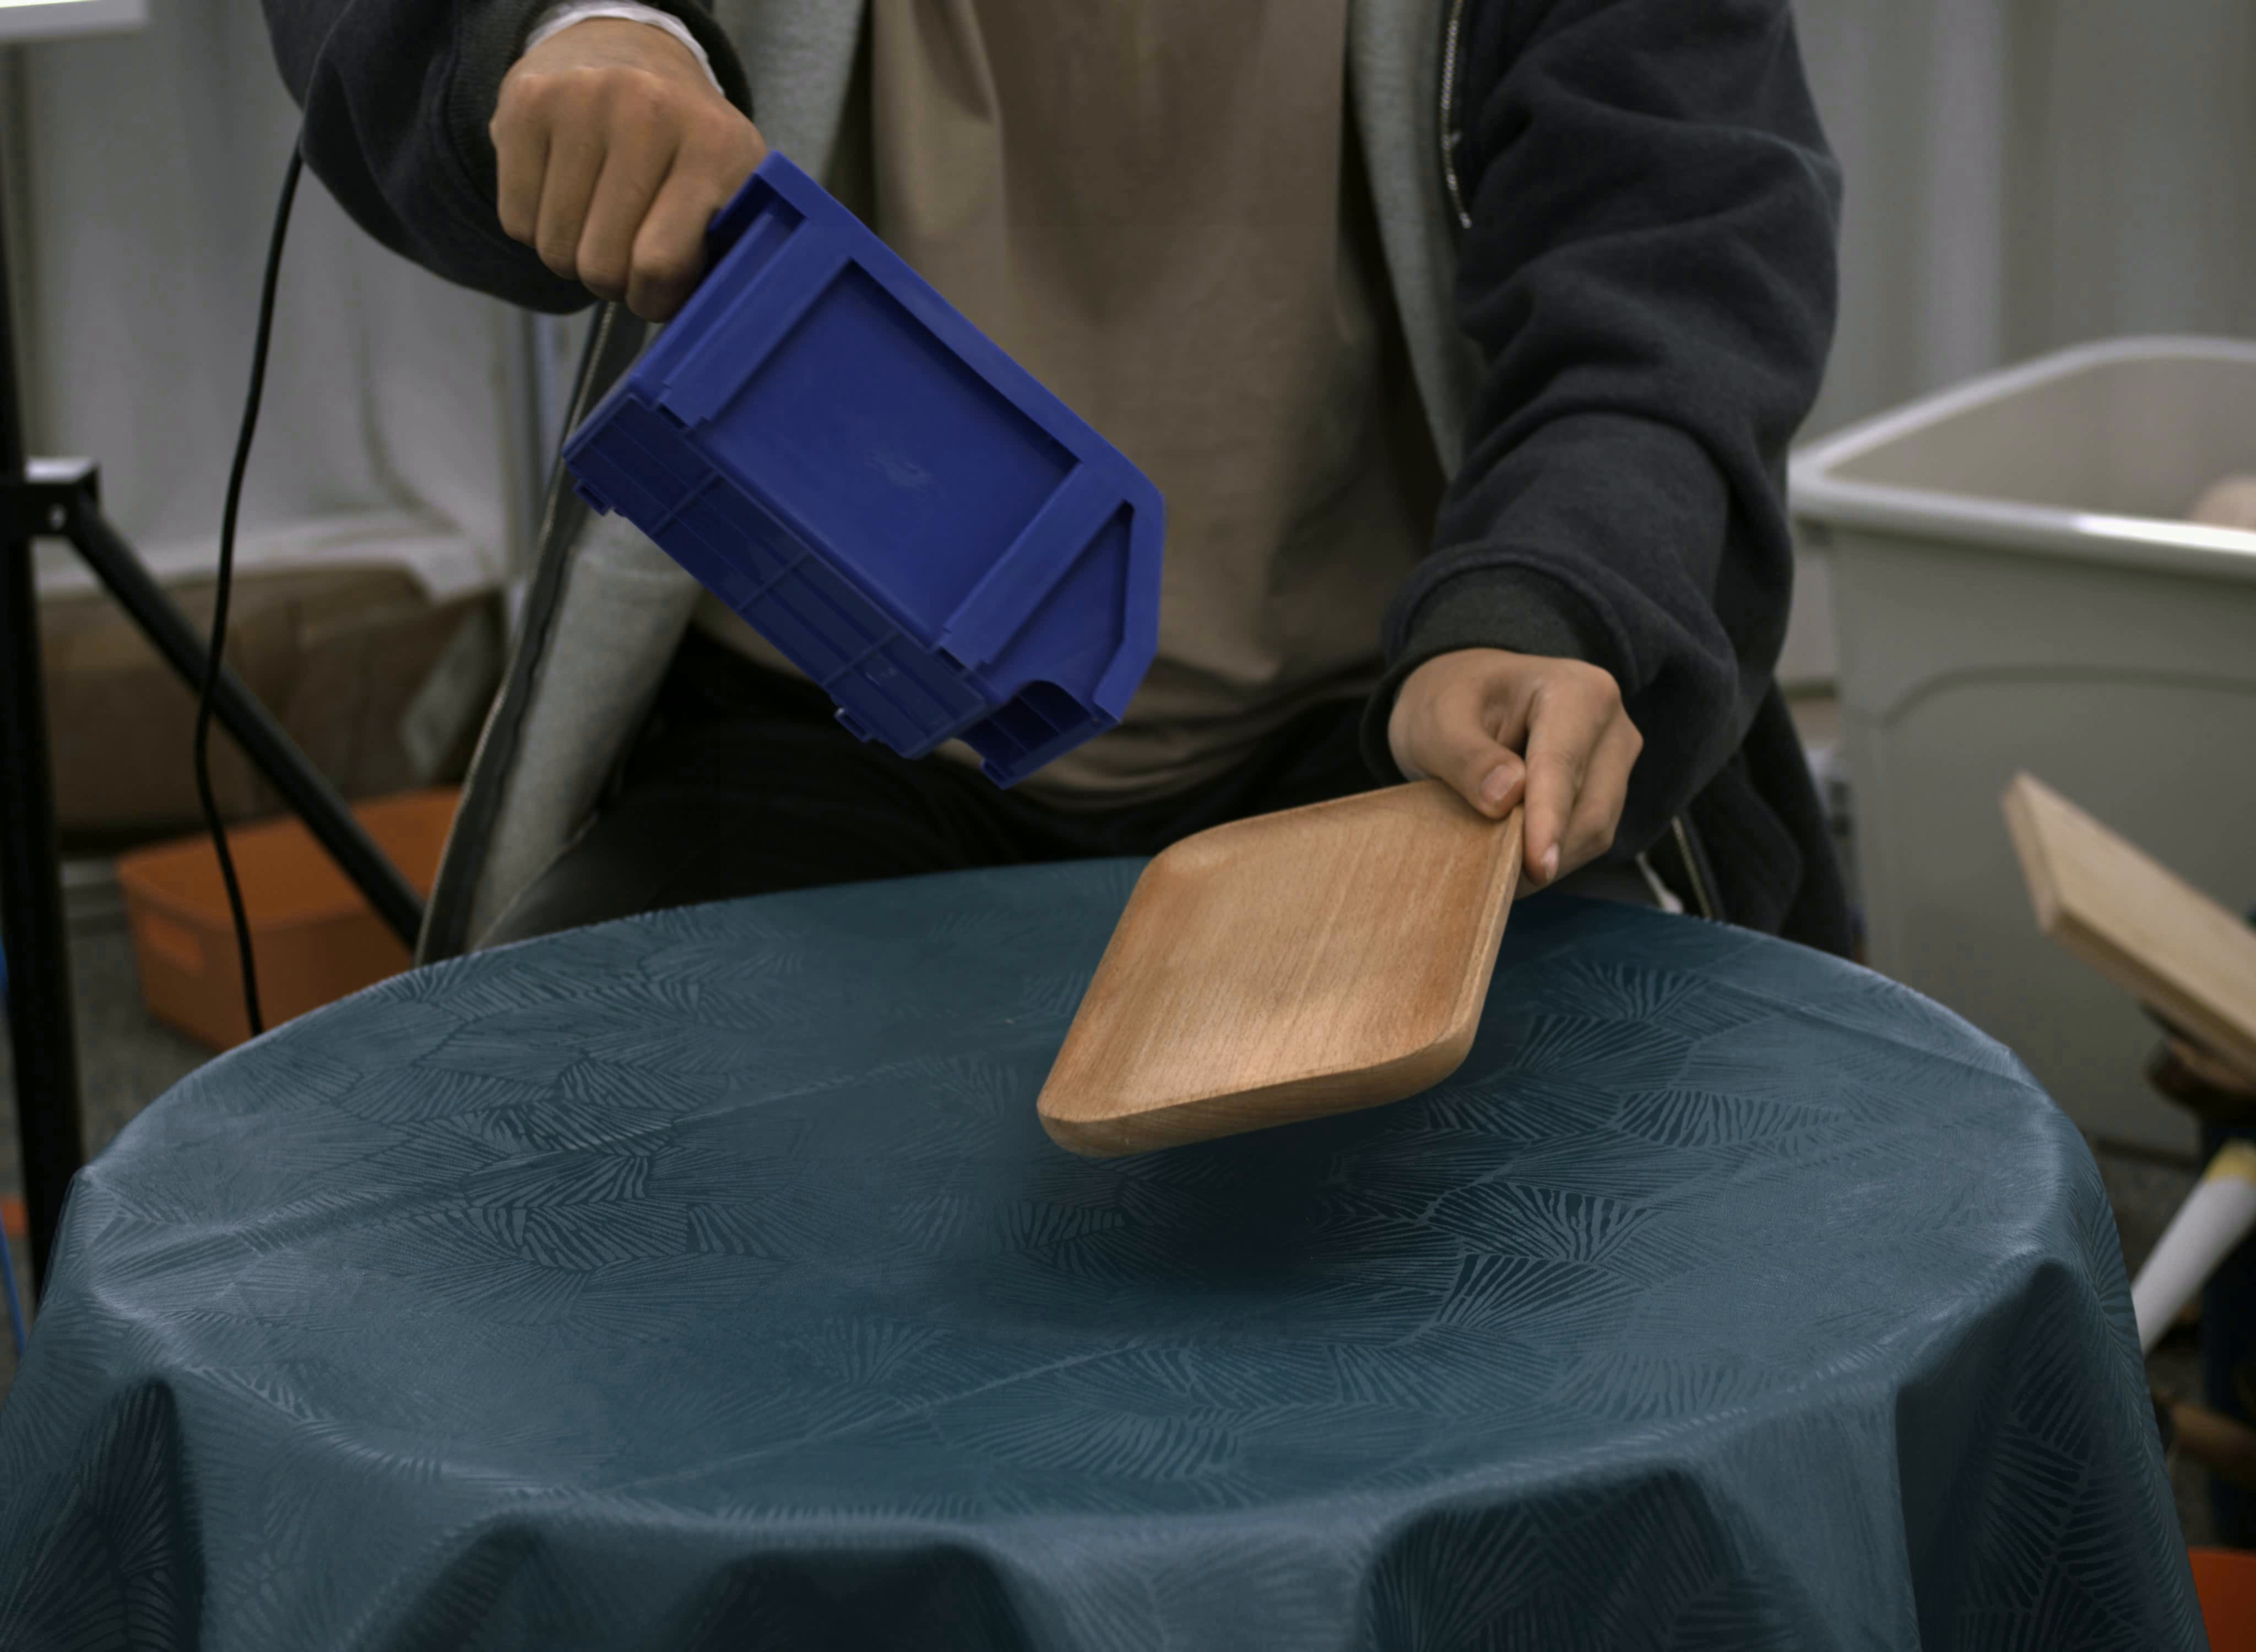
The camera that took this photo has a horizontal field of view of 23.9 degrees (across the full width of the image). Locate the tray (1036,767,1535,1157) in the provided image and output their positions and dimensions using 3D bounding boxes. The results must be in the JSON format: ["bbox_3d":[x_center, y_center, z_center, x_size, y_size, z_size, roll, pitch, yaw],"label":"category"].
[{"bbox_3d":[0.051,0.038,1.567,0.131,0.023,0.250,-10,17,13],"label":"tray"}]

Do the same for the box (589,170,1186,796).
[{"bbox_3d":[-0.067,-0.090,1.564,0.178,0.081,0.125,37,-18,-4],"label":"box"}]
